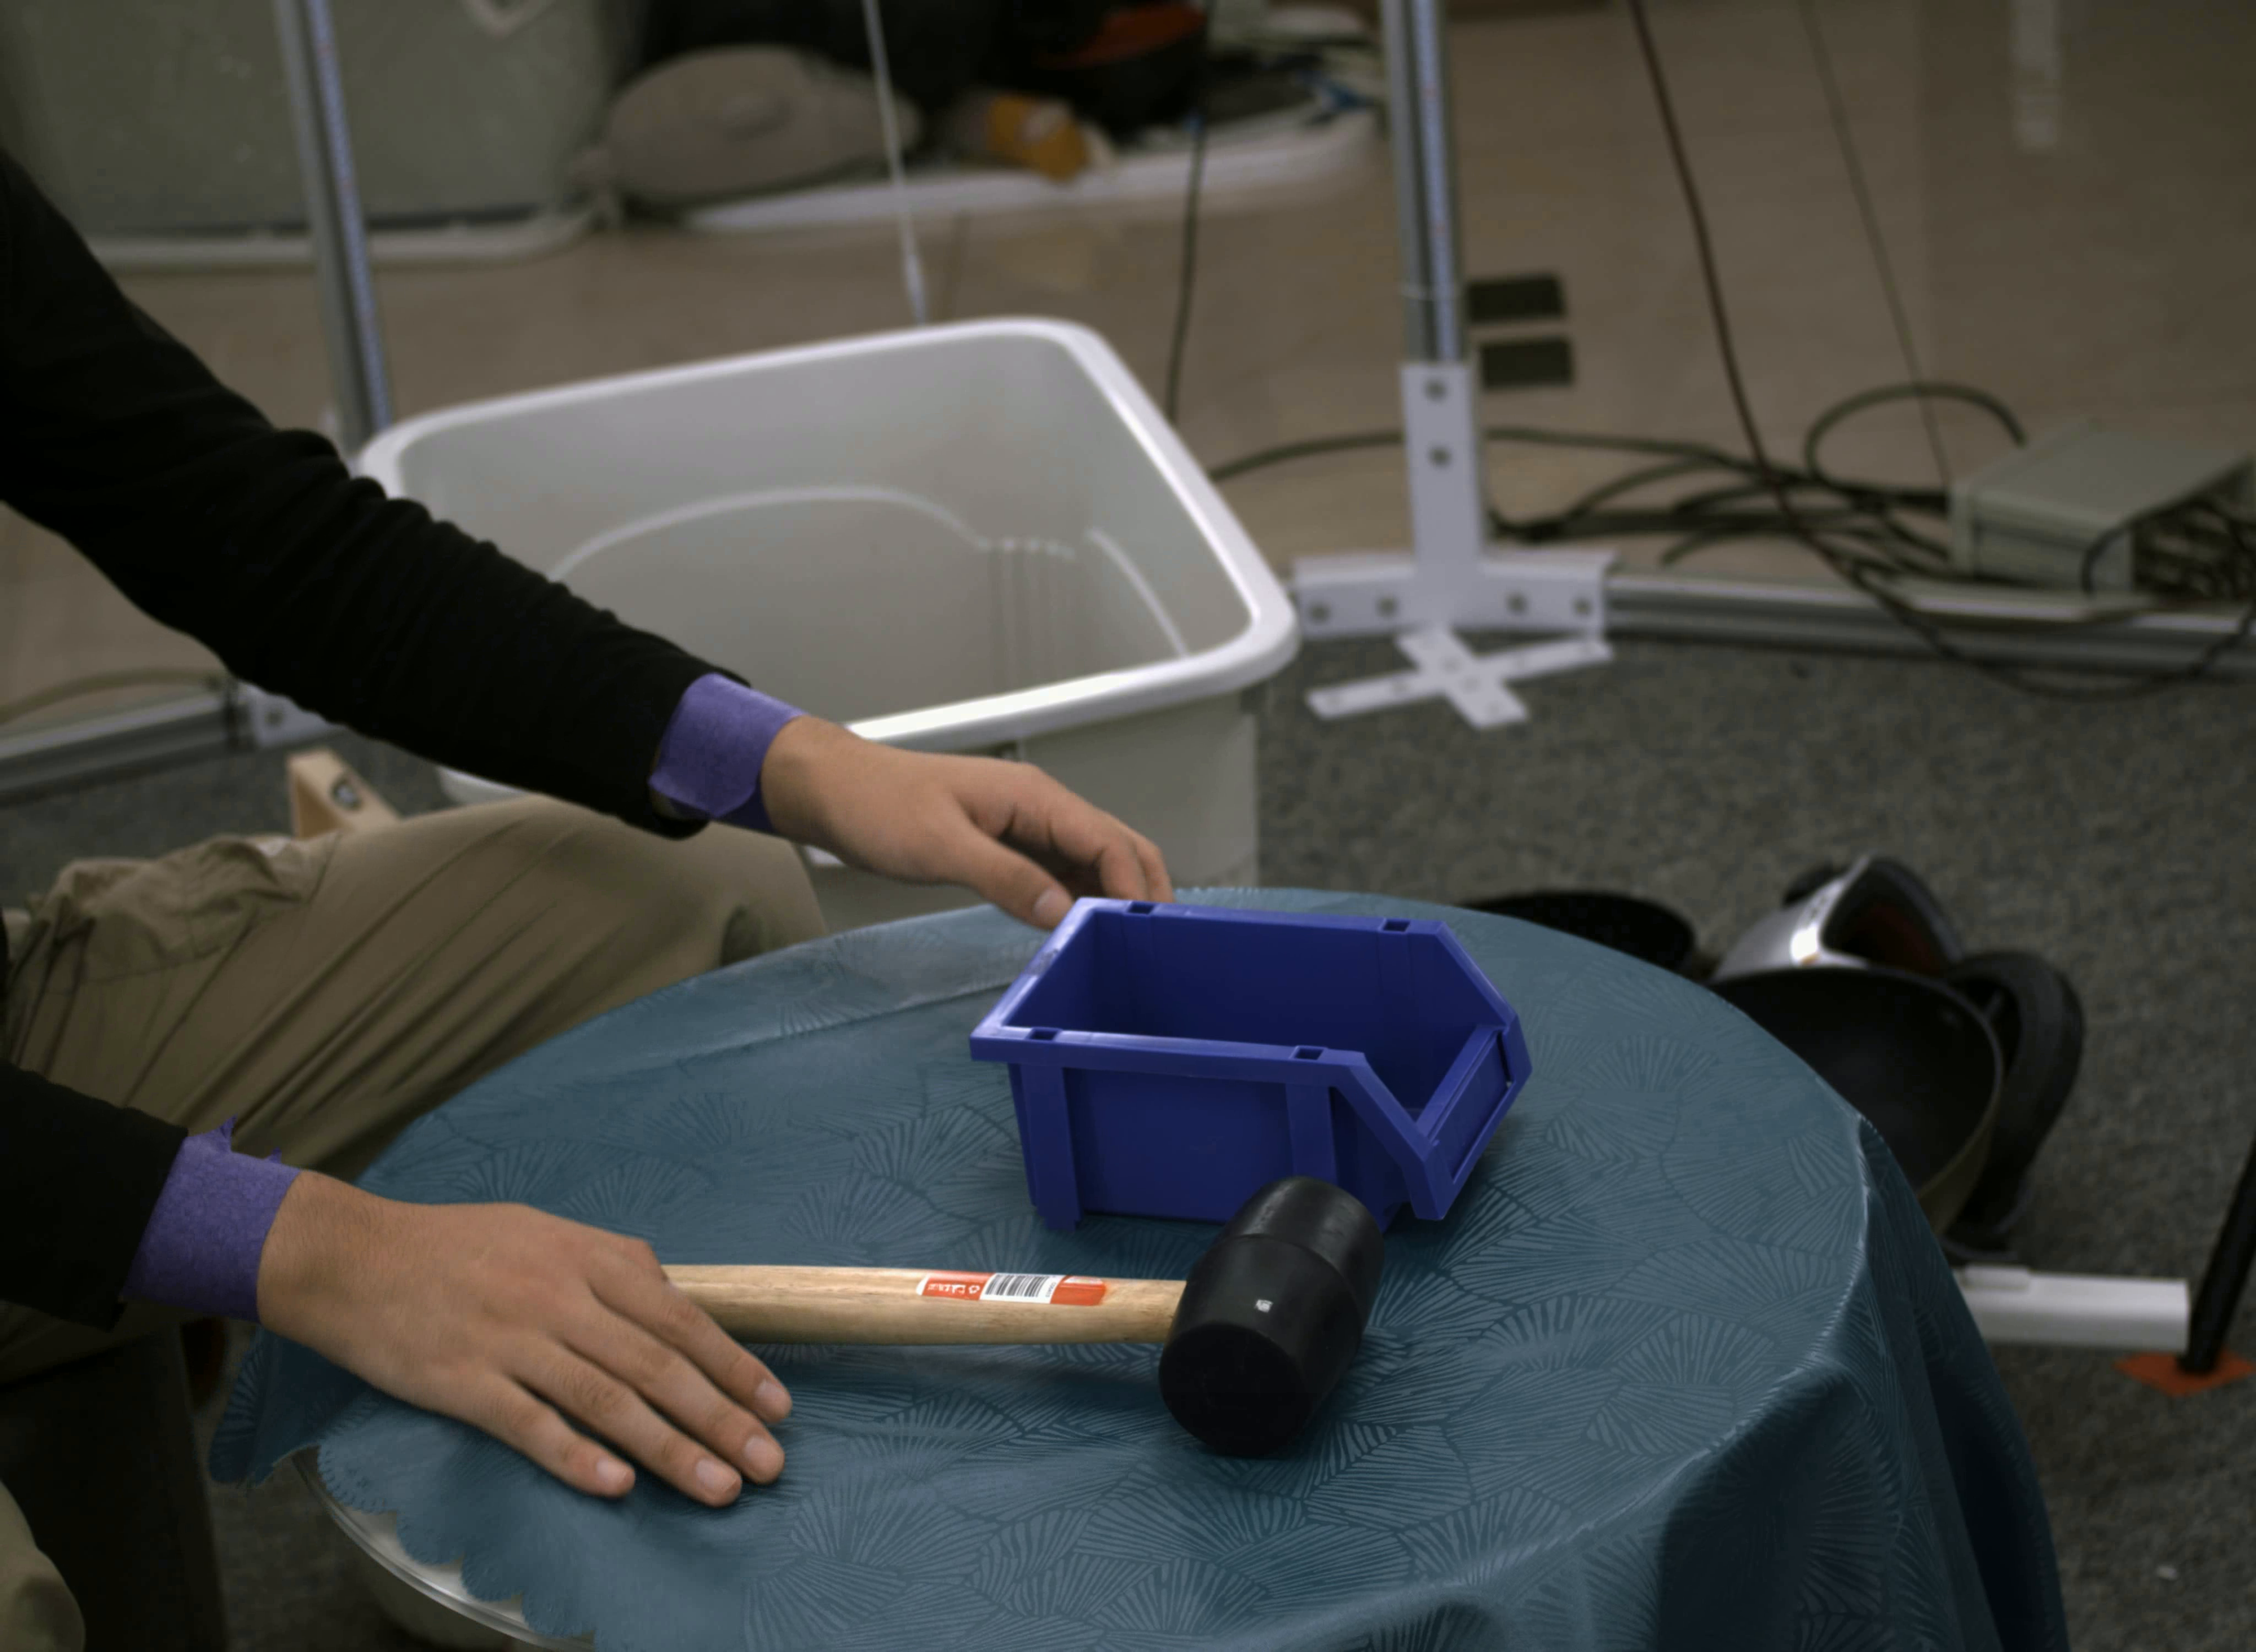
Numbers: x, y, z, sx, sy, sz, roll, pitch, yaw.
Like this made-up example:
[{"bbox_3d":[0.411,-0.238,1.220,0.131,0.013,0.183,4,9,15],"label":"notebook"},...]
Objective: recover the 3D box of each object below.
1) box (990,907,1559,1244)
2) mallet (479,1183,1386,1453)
[{"bbox_3d":[0.058,0.093,2.136,0.179,0.083,0.123,1,26,23],"label":"box"},{"bbox_3d":[-0.078,0.167,2.038,0.338,0.065,0.100,3,26,20],"label":"mallet"}]
